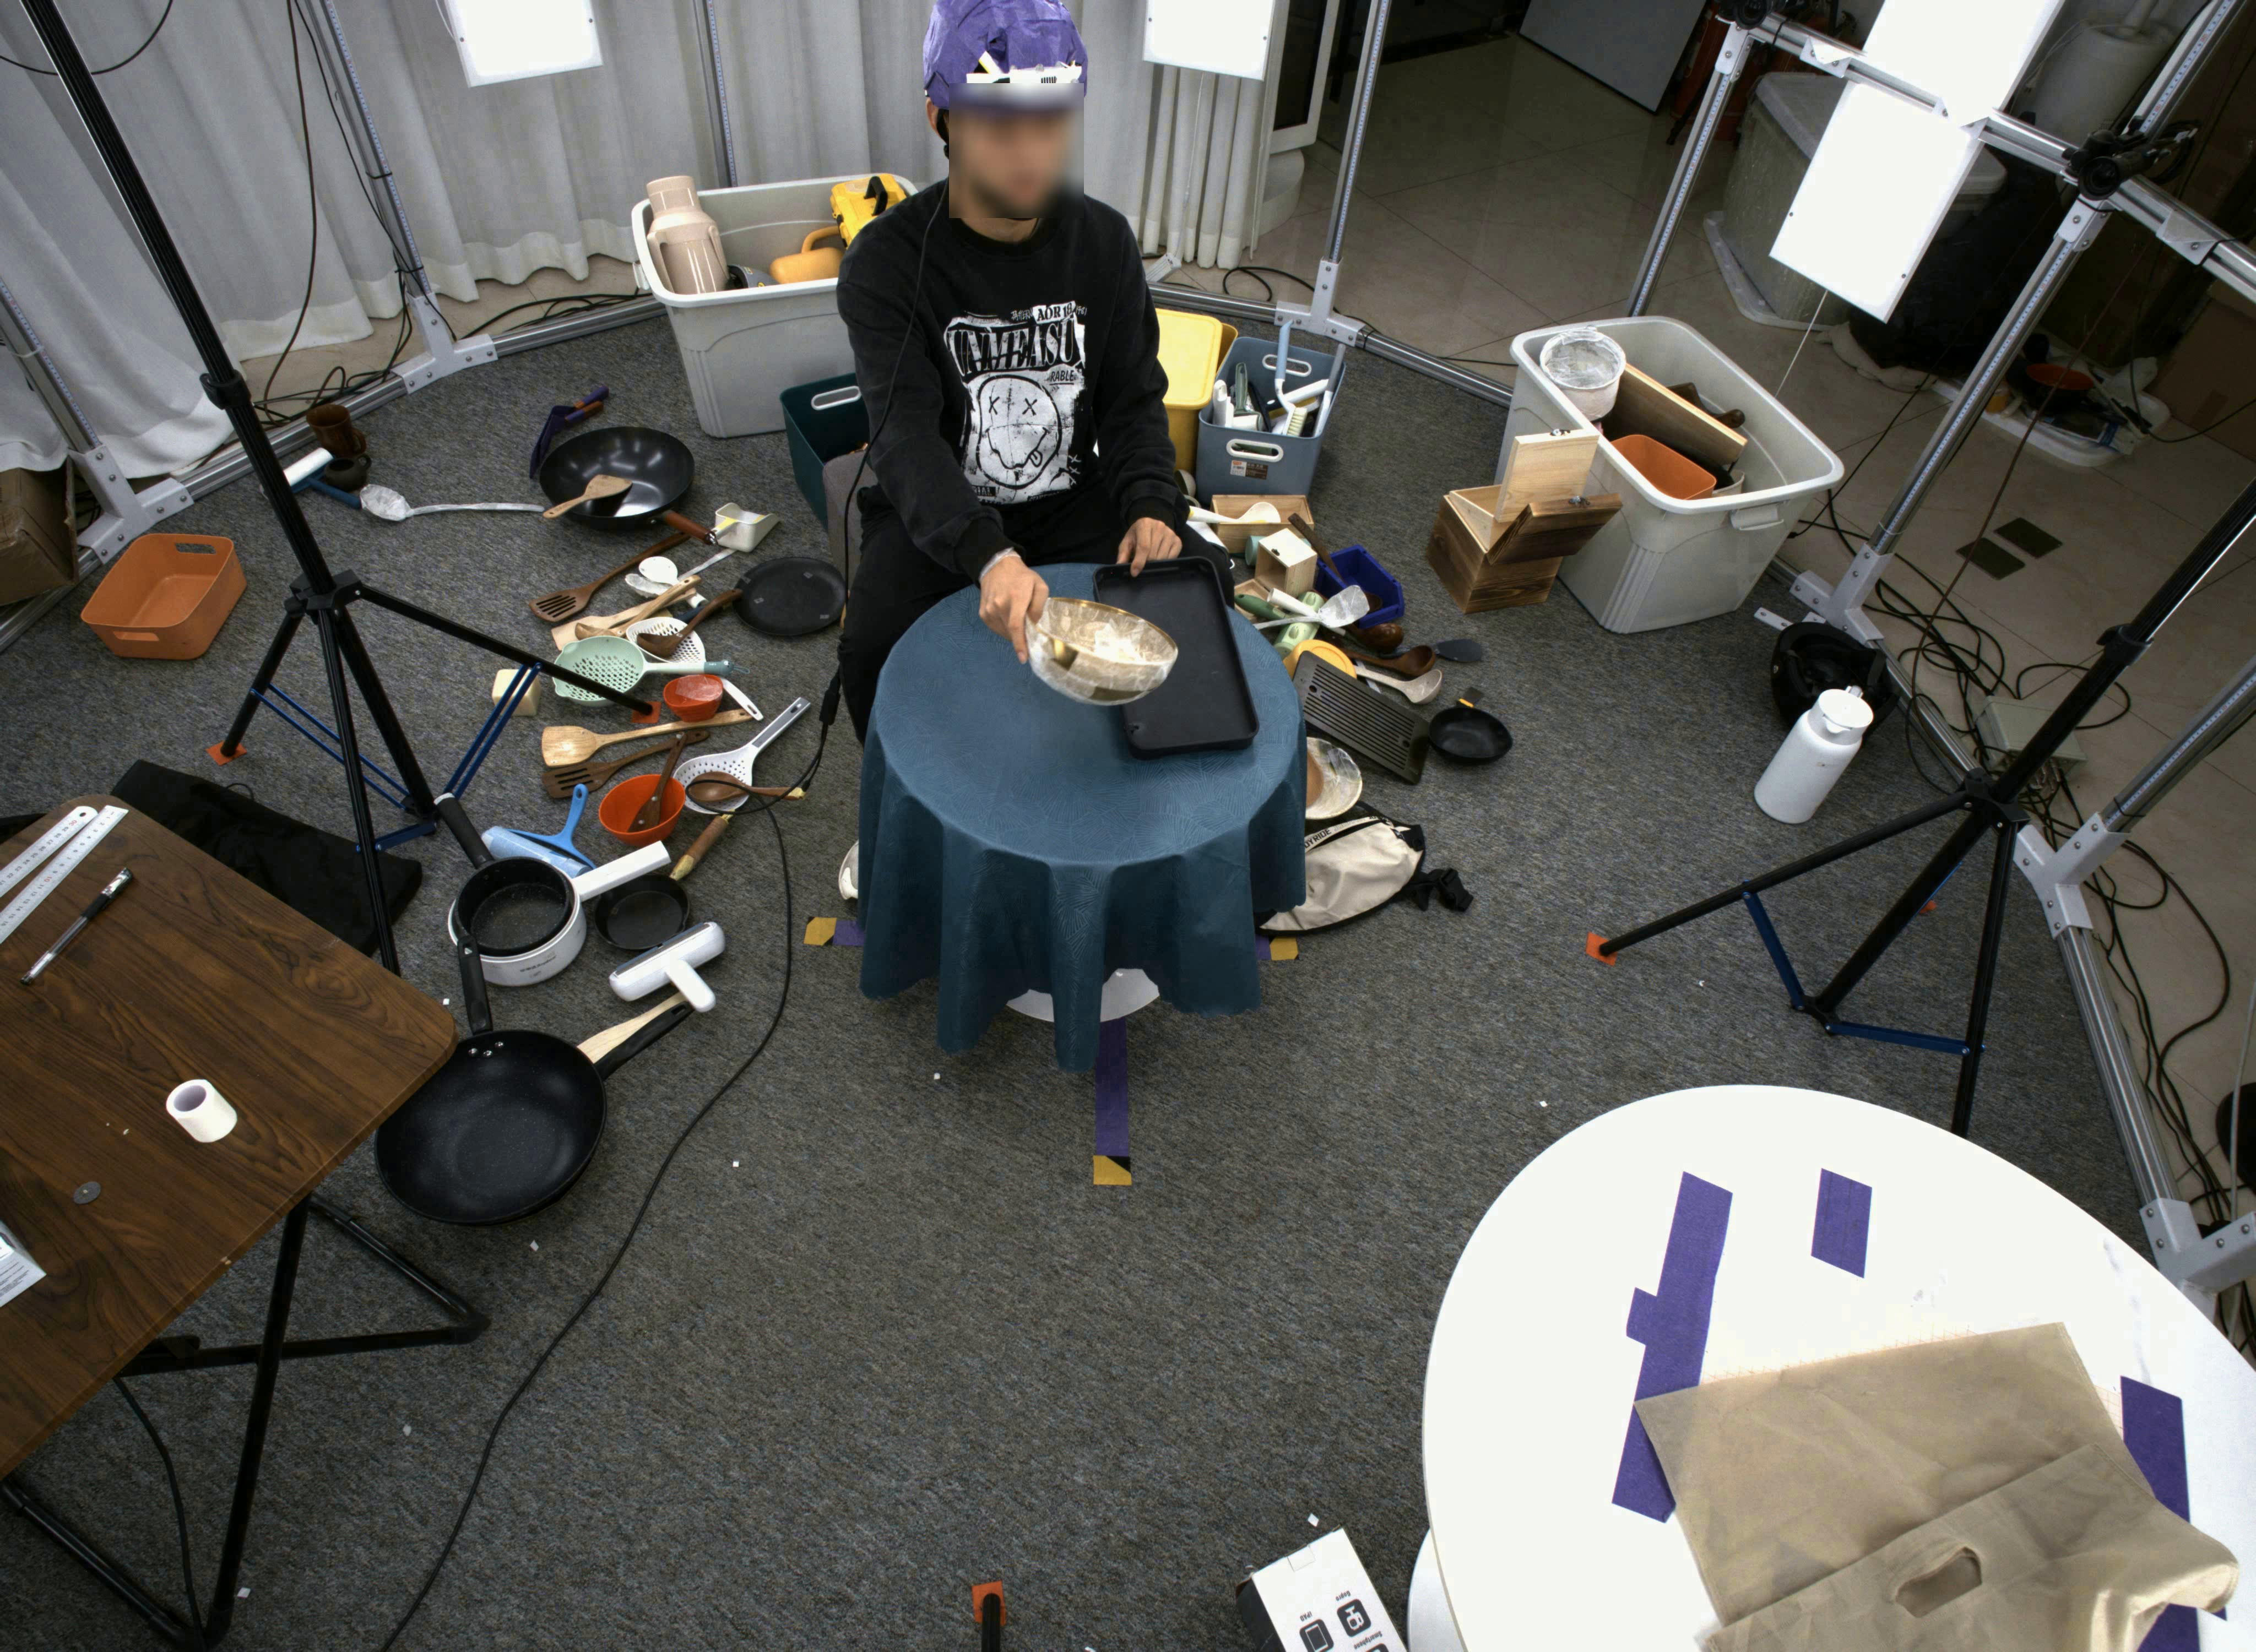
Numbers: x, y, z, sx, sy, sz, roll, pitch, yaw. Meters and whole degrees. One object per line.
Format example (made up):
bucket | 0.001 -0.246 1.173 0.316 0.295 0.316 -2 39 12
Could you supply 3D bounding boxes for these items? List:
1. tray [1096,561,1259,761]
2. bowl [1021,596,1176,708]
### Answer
tray | 0.066 -0.241 1.835 0.184 0.036 0.325 -7 60 -8
bowl | -0.047 -0.212 1.659 0.214 0.093 0.219 12 28 -7
